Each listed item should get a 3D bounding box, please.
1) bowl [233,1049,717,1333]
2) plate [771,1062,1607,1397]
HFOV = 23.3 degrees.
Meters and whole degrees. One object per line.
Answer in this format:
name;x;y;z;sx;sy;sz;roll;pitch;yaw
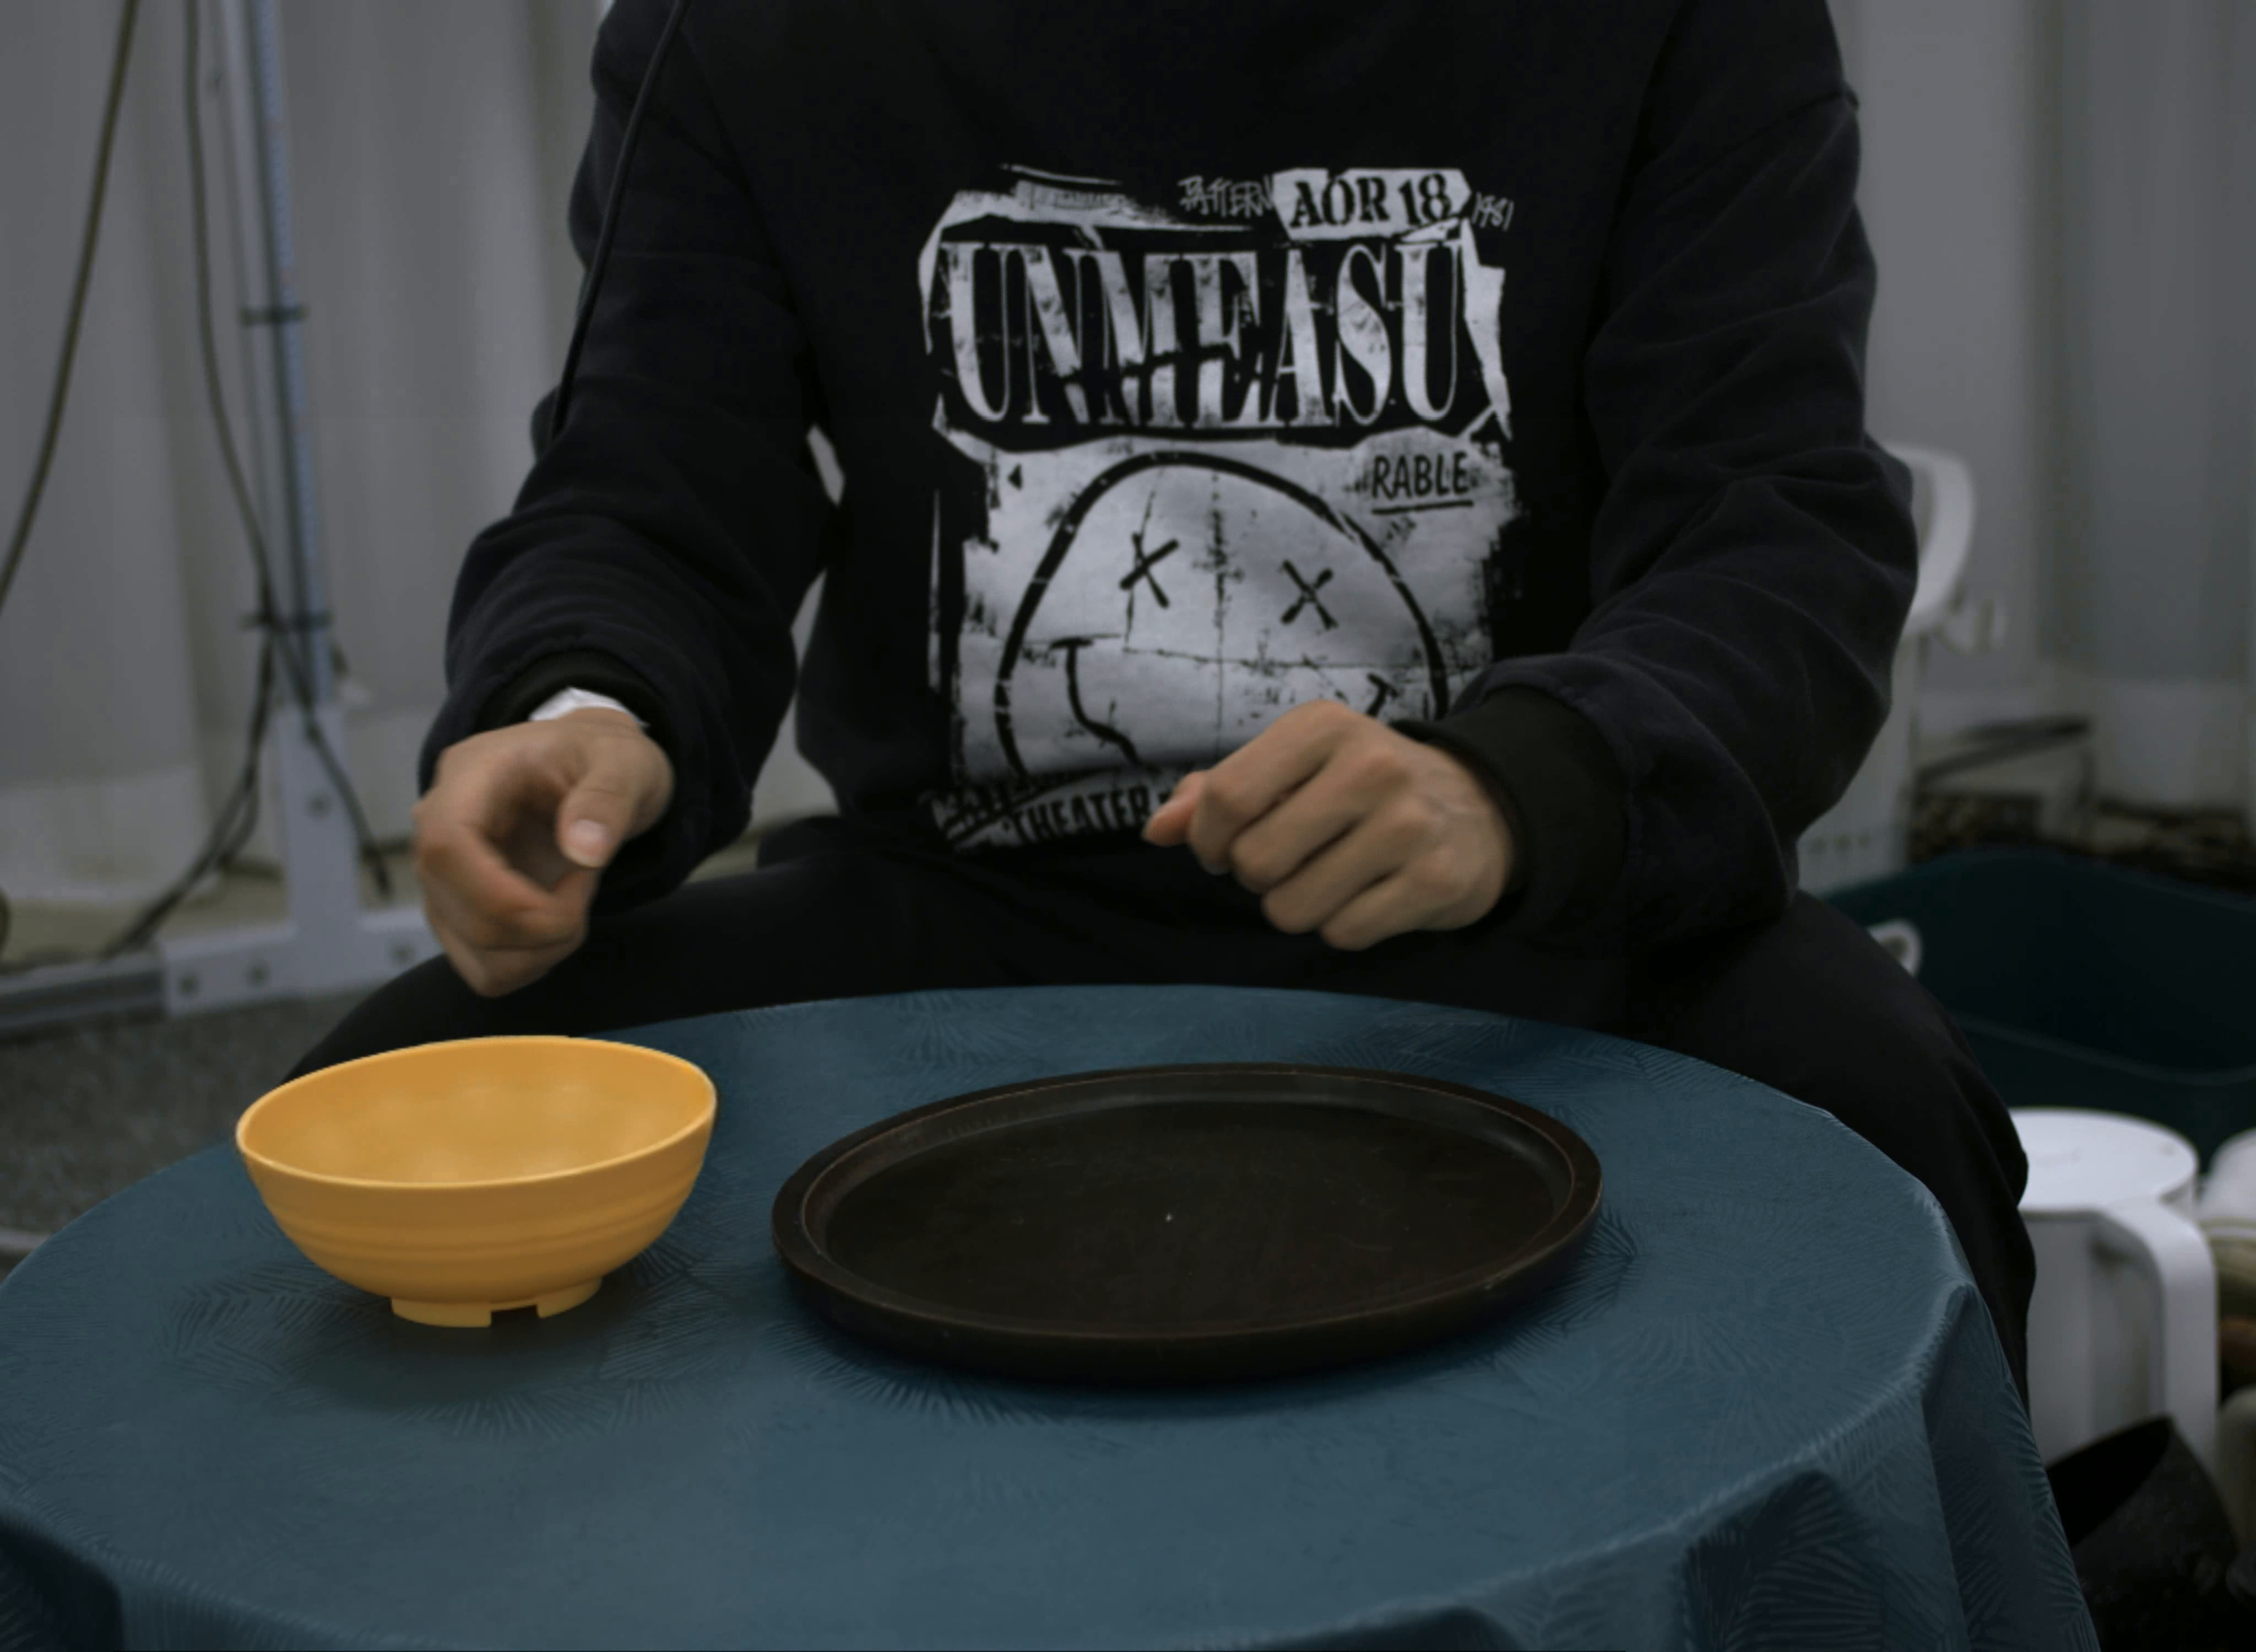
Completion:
bowl;-0.195;0.114;1.647;0.145;0.060;0.146;-1;13;0
plate;0.019;0.120;1.650;0.254;0.029;0.256;-4;14;1
